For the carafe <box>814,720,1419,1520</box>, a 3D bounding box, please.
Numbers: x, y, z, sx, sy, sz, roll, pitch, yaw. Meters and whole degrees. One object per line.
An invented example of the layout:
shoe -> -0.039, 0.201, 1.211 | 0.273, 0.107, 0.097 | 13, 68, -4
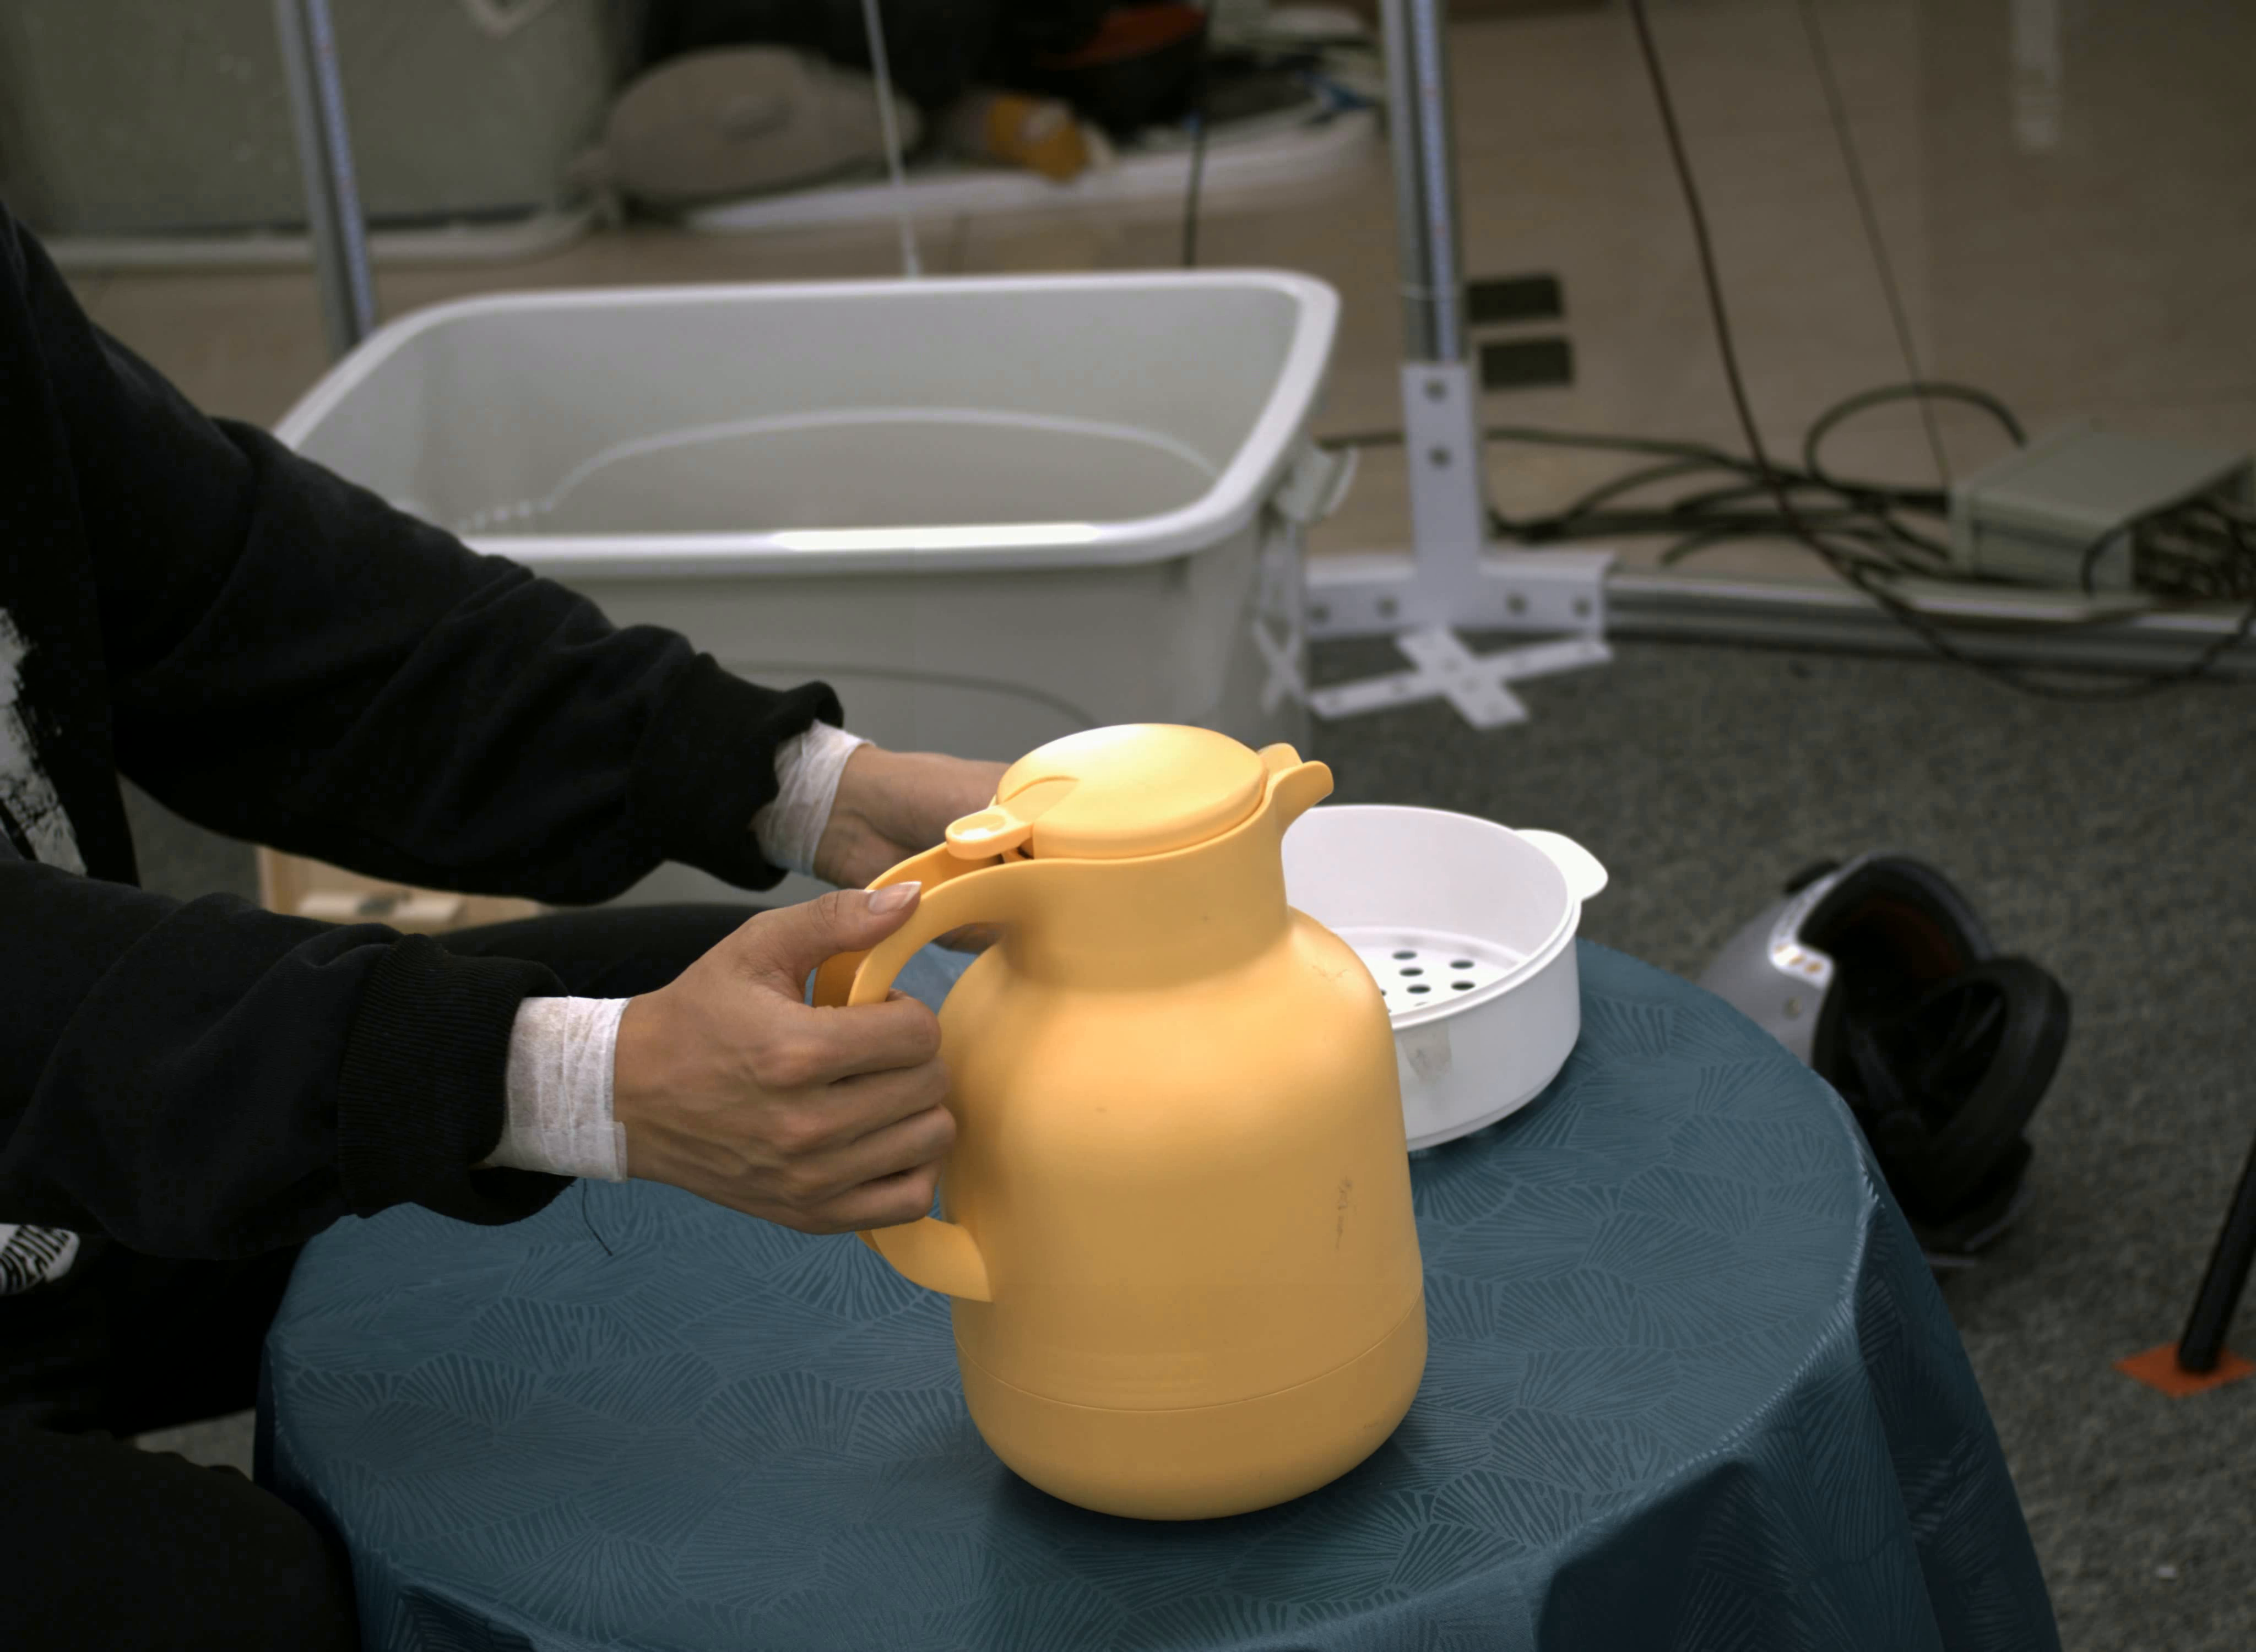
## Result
carafe -> -0.006, 0.099, 1.920 | 0.201, 0.264, 0.161 | -15, 24, -22

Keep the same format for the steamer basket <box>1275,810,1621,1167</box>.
steamer basket -> 0.084, 0.065, 2.216 | 0.230, 0.070, 0.199 | -14, 26, -16
